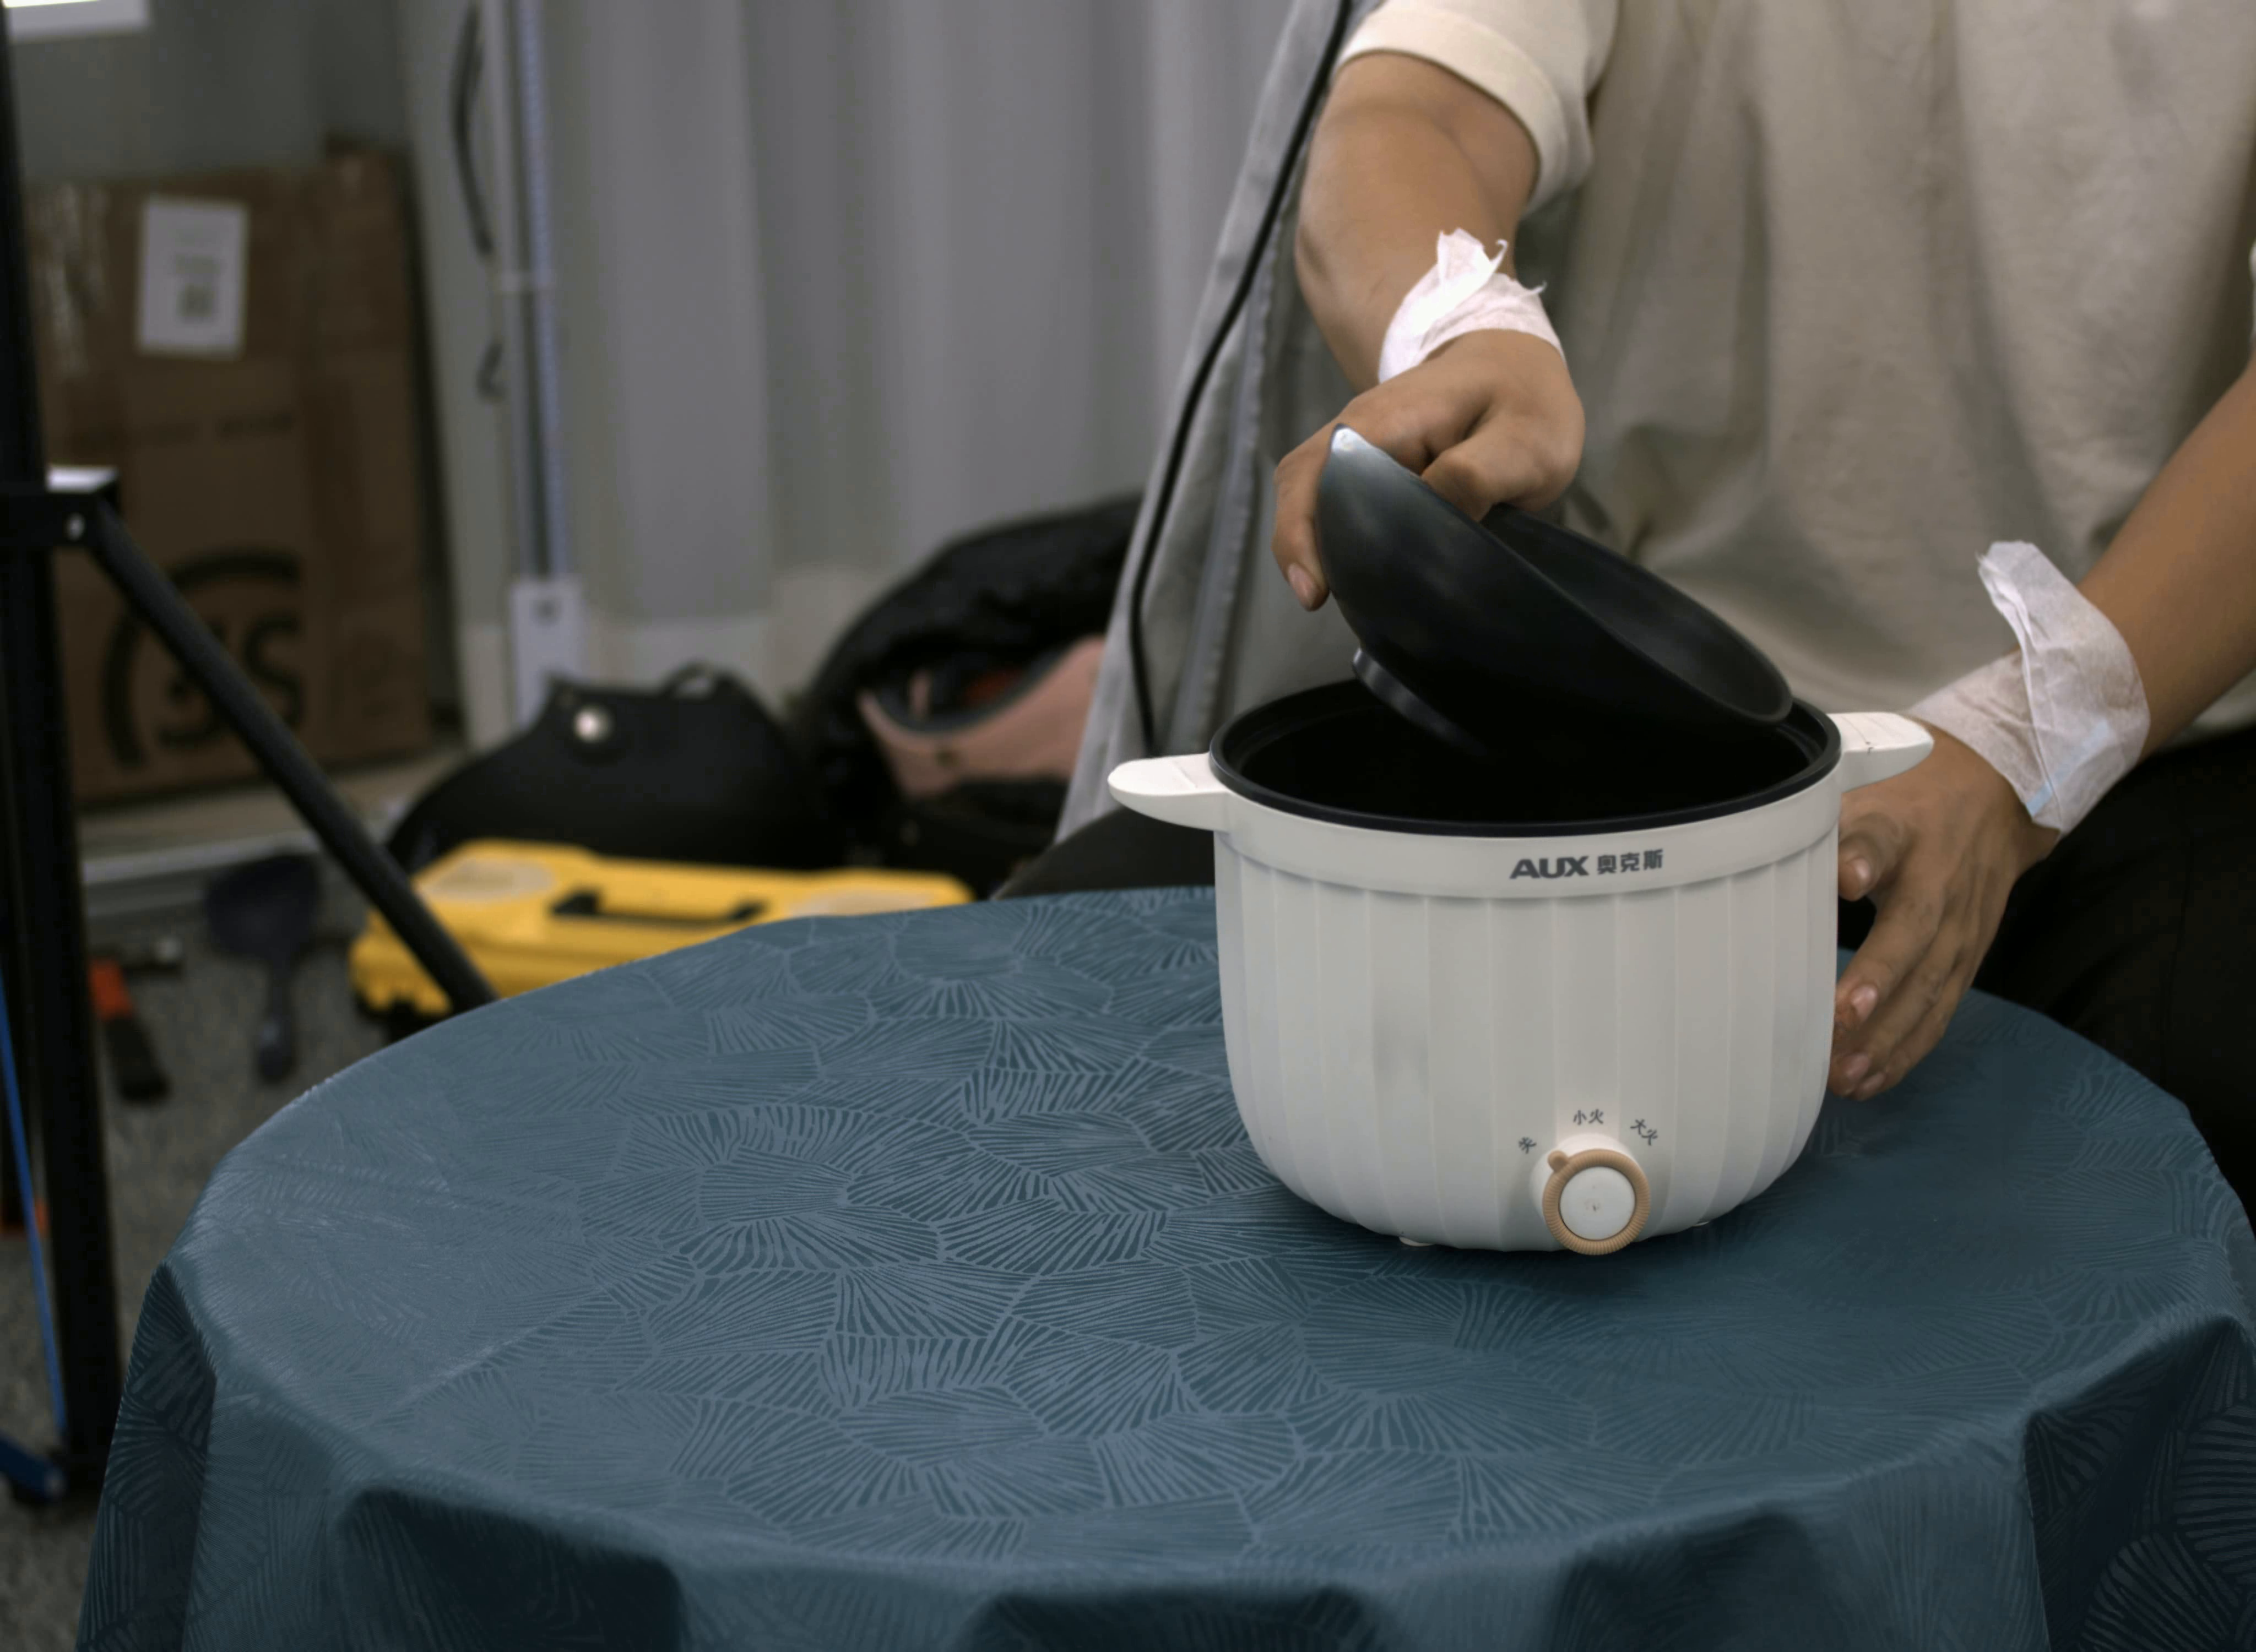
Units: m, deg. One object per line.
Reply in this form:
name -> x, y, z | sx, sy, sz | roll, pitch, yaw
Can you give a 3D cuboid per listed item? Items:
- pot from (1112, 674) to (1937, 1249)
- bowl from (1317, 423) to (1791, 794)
pot -> 0.118, 0.040, 1.524 | 0.238, 0.143, 0.192 | -5, 12, -5
bowl -> 0.108, -0.053, 1.513 | 0.133, 0.067, 0.174 | 24, 14, -43
